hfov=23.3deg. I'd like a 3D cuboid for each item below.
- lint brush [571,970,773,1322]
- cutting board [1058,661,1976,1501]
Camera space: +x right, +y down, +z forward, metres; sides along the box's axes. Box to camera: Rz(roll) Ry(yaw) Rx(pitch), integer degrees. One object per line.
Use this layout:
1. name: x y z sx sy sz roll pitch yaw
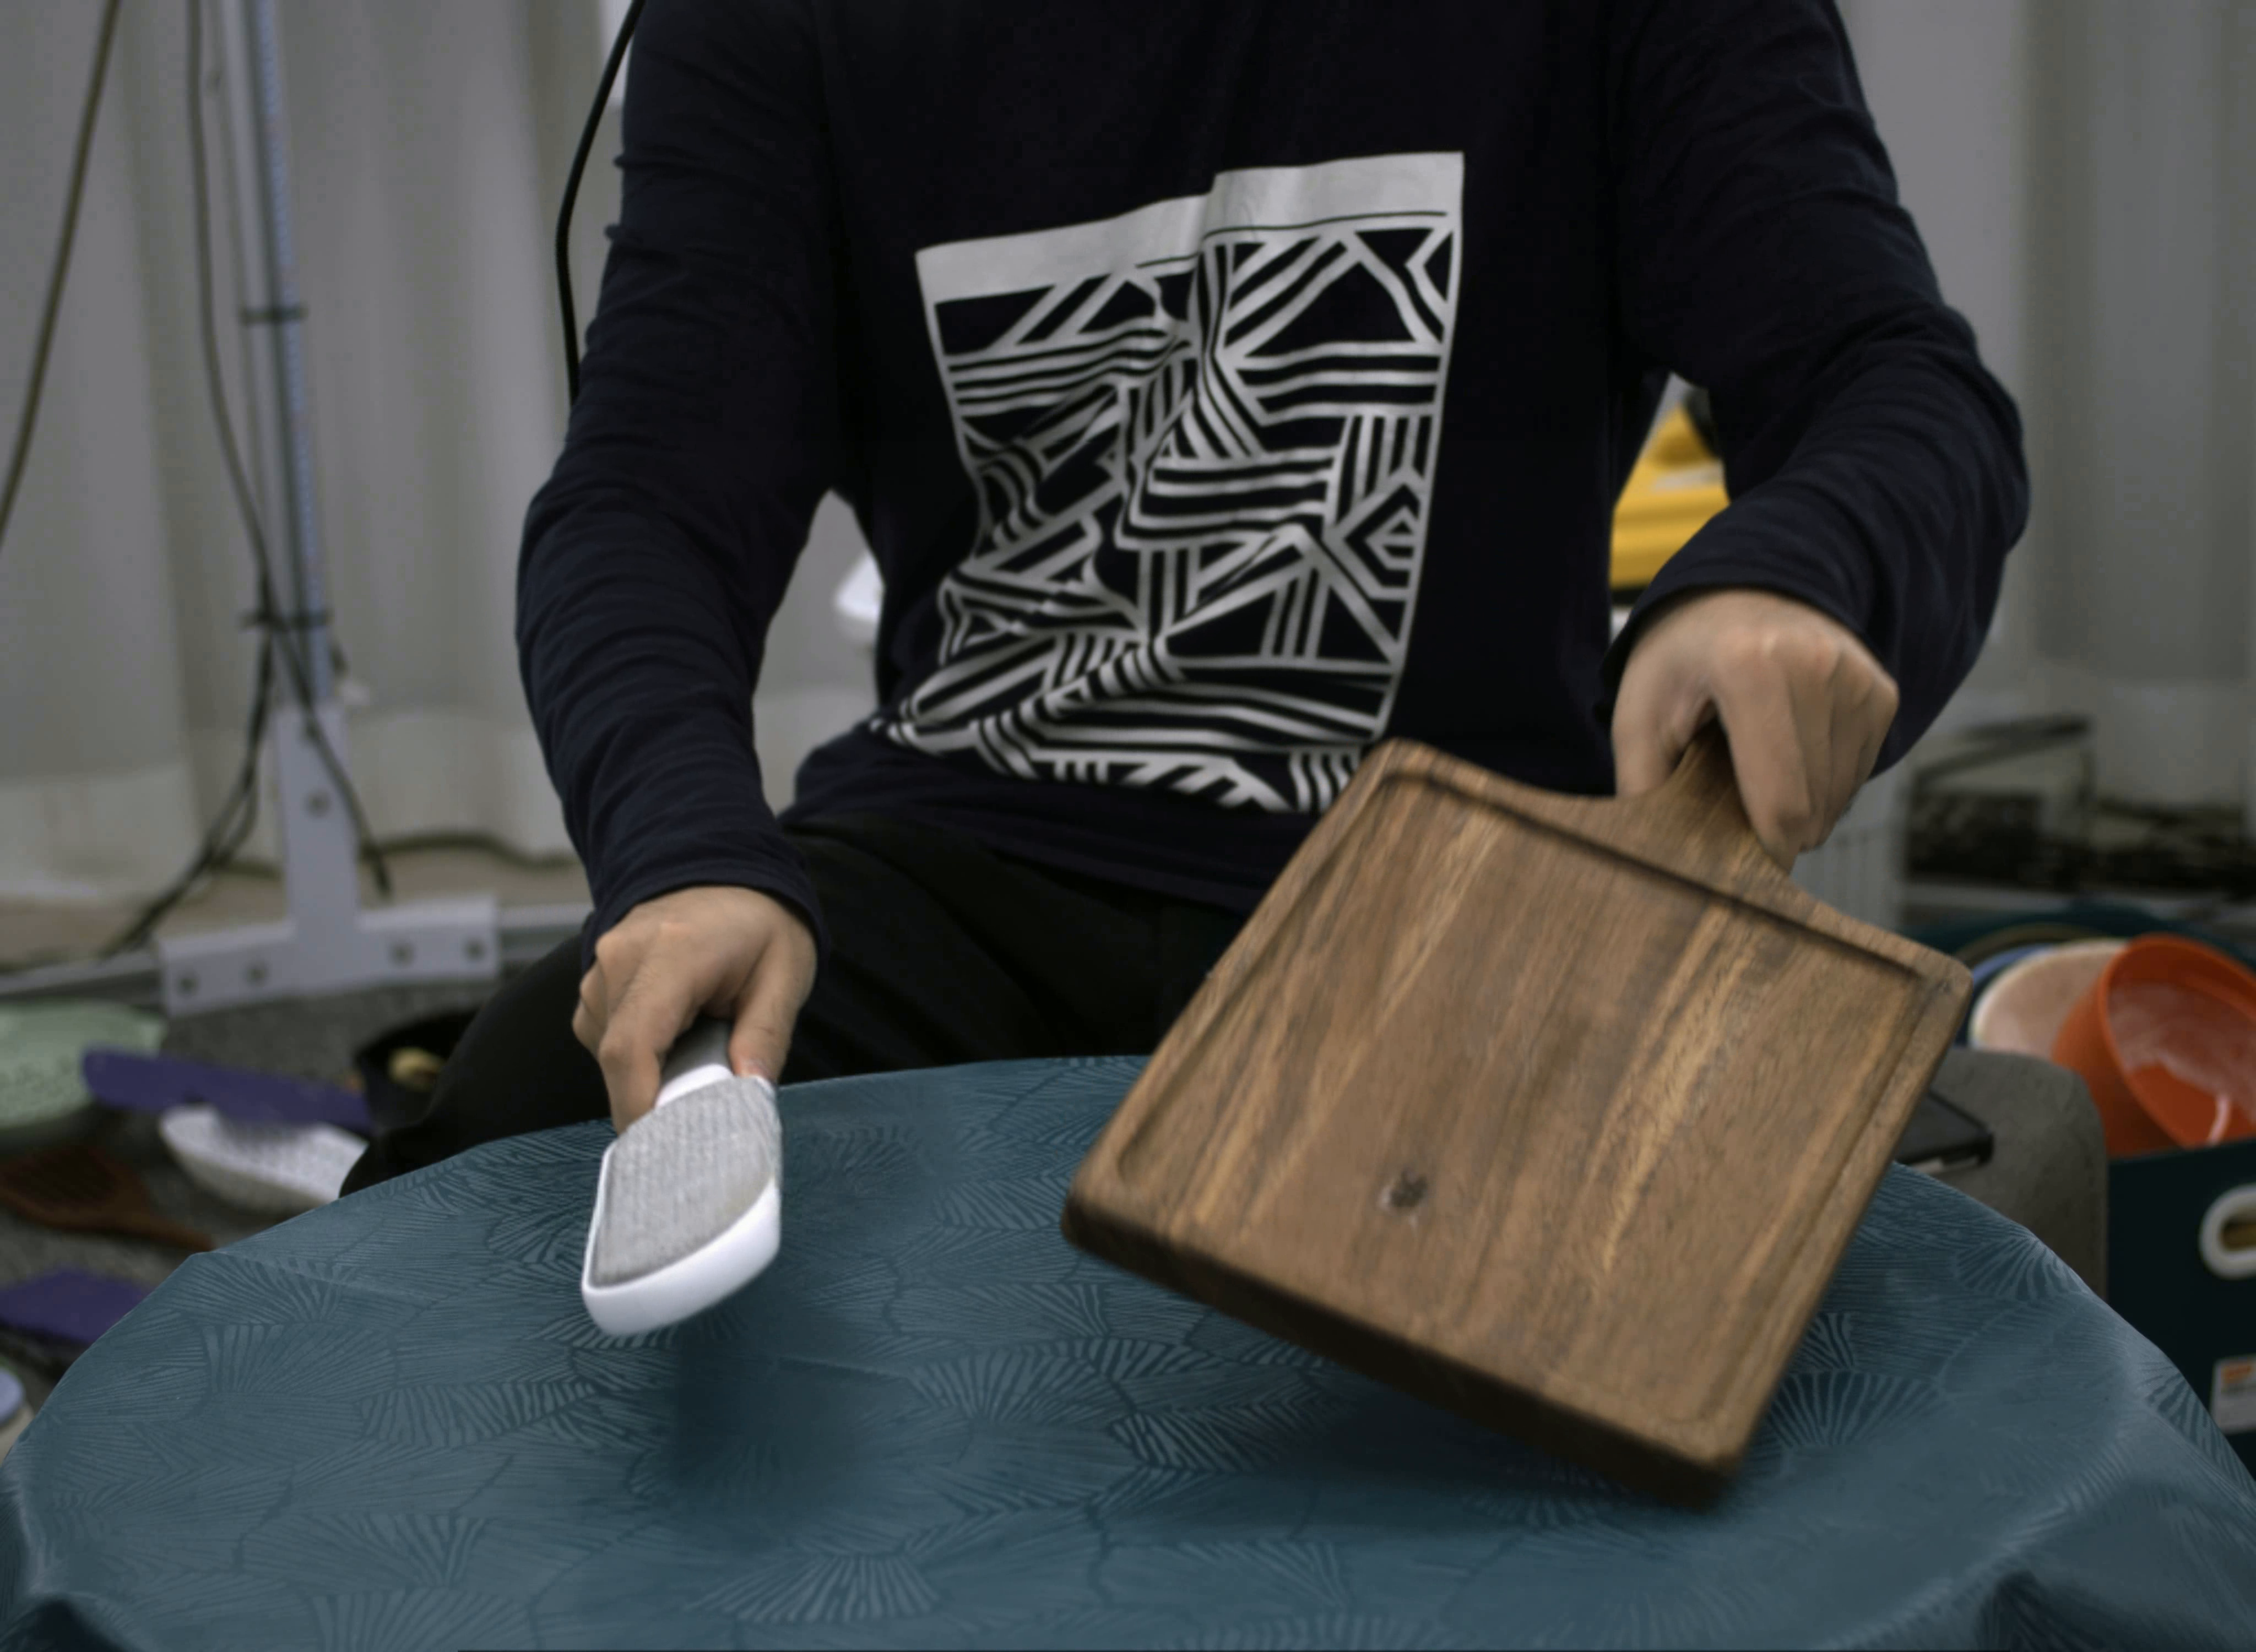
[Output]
1. lint brush: -0.131 0.088 1.625 0.060 0.021 0.311 -29 12 4
2. cutting board: 0.136 0.048 1.592 0.201 0.023 0.355 23 38 13
